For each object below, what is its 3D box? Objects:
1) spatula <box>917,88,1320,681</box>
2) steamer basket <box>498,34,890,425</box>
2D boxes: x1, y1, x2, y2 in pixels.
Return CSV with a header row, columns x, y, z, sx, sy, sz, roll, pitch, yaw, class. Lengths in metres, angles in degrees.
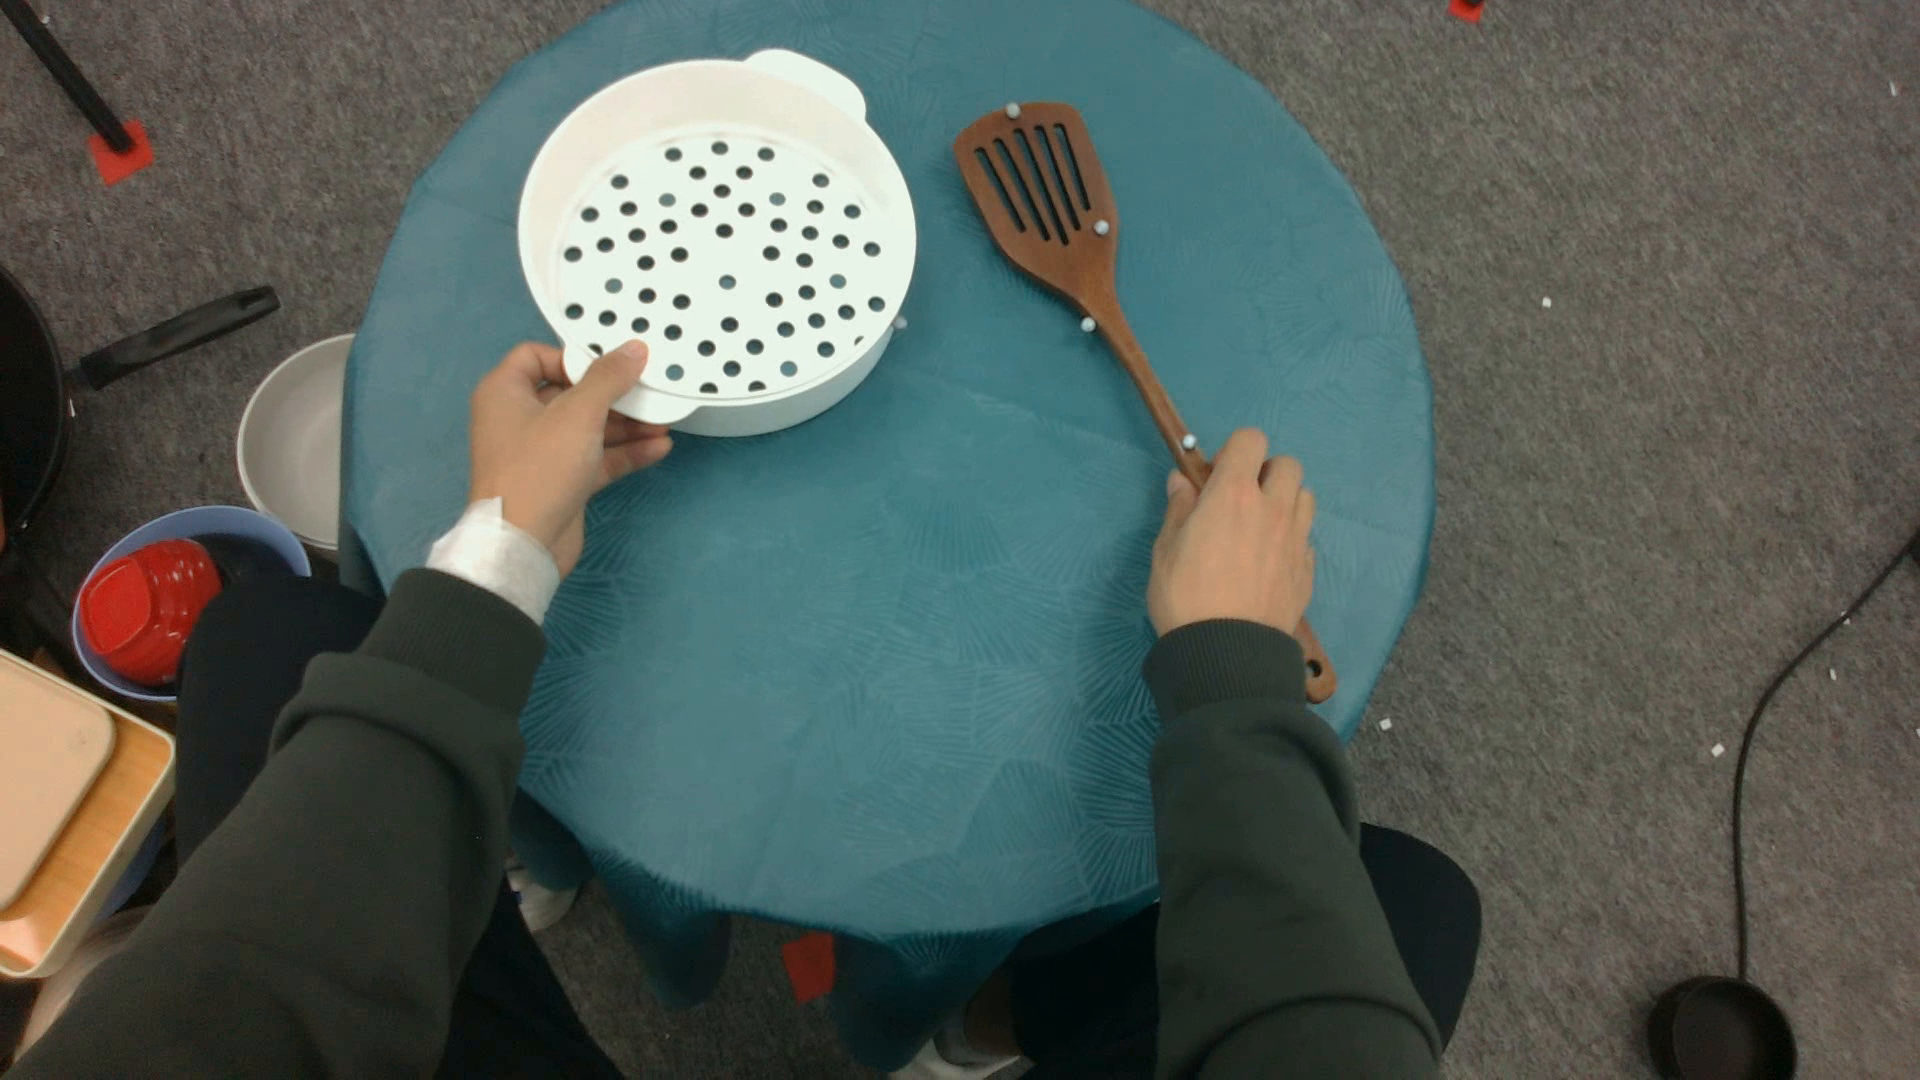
x,y,z,sx,sy,sz,roll,pitch,yaw,class
0.094,-0.092,0.767,0.086,0.023,0.386,-24,74,-16,spatula
-0.139,-0.160,0.742,0.202,0.069,0.231,23,74,3,steamer basket
